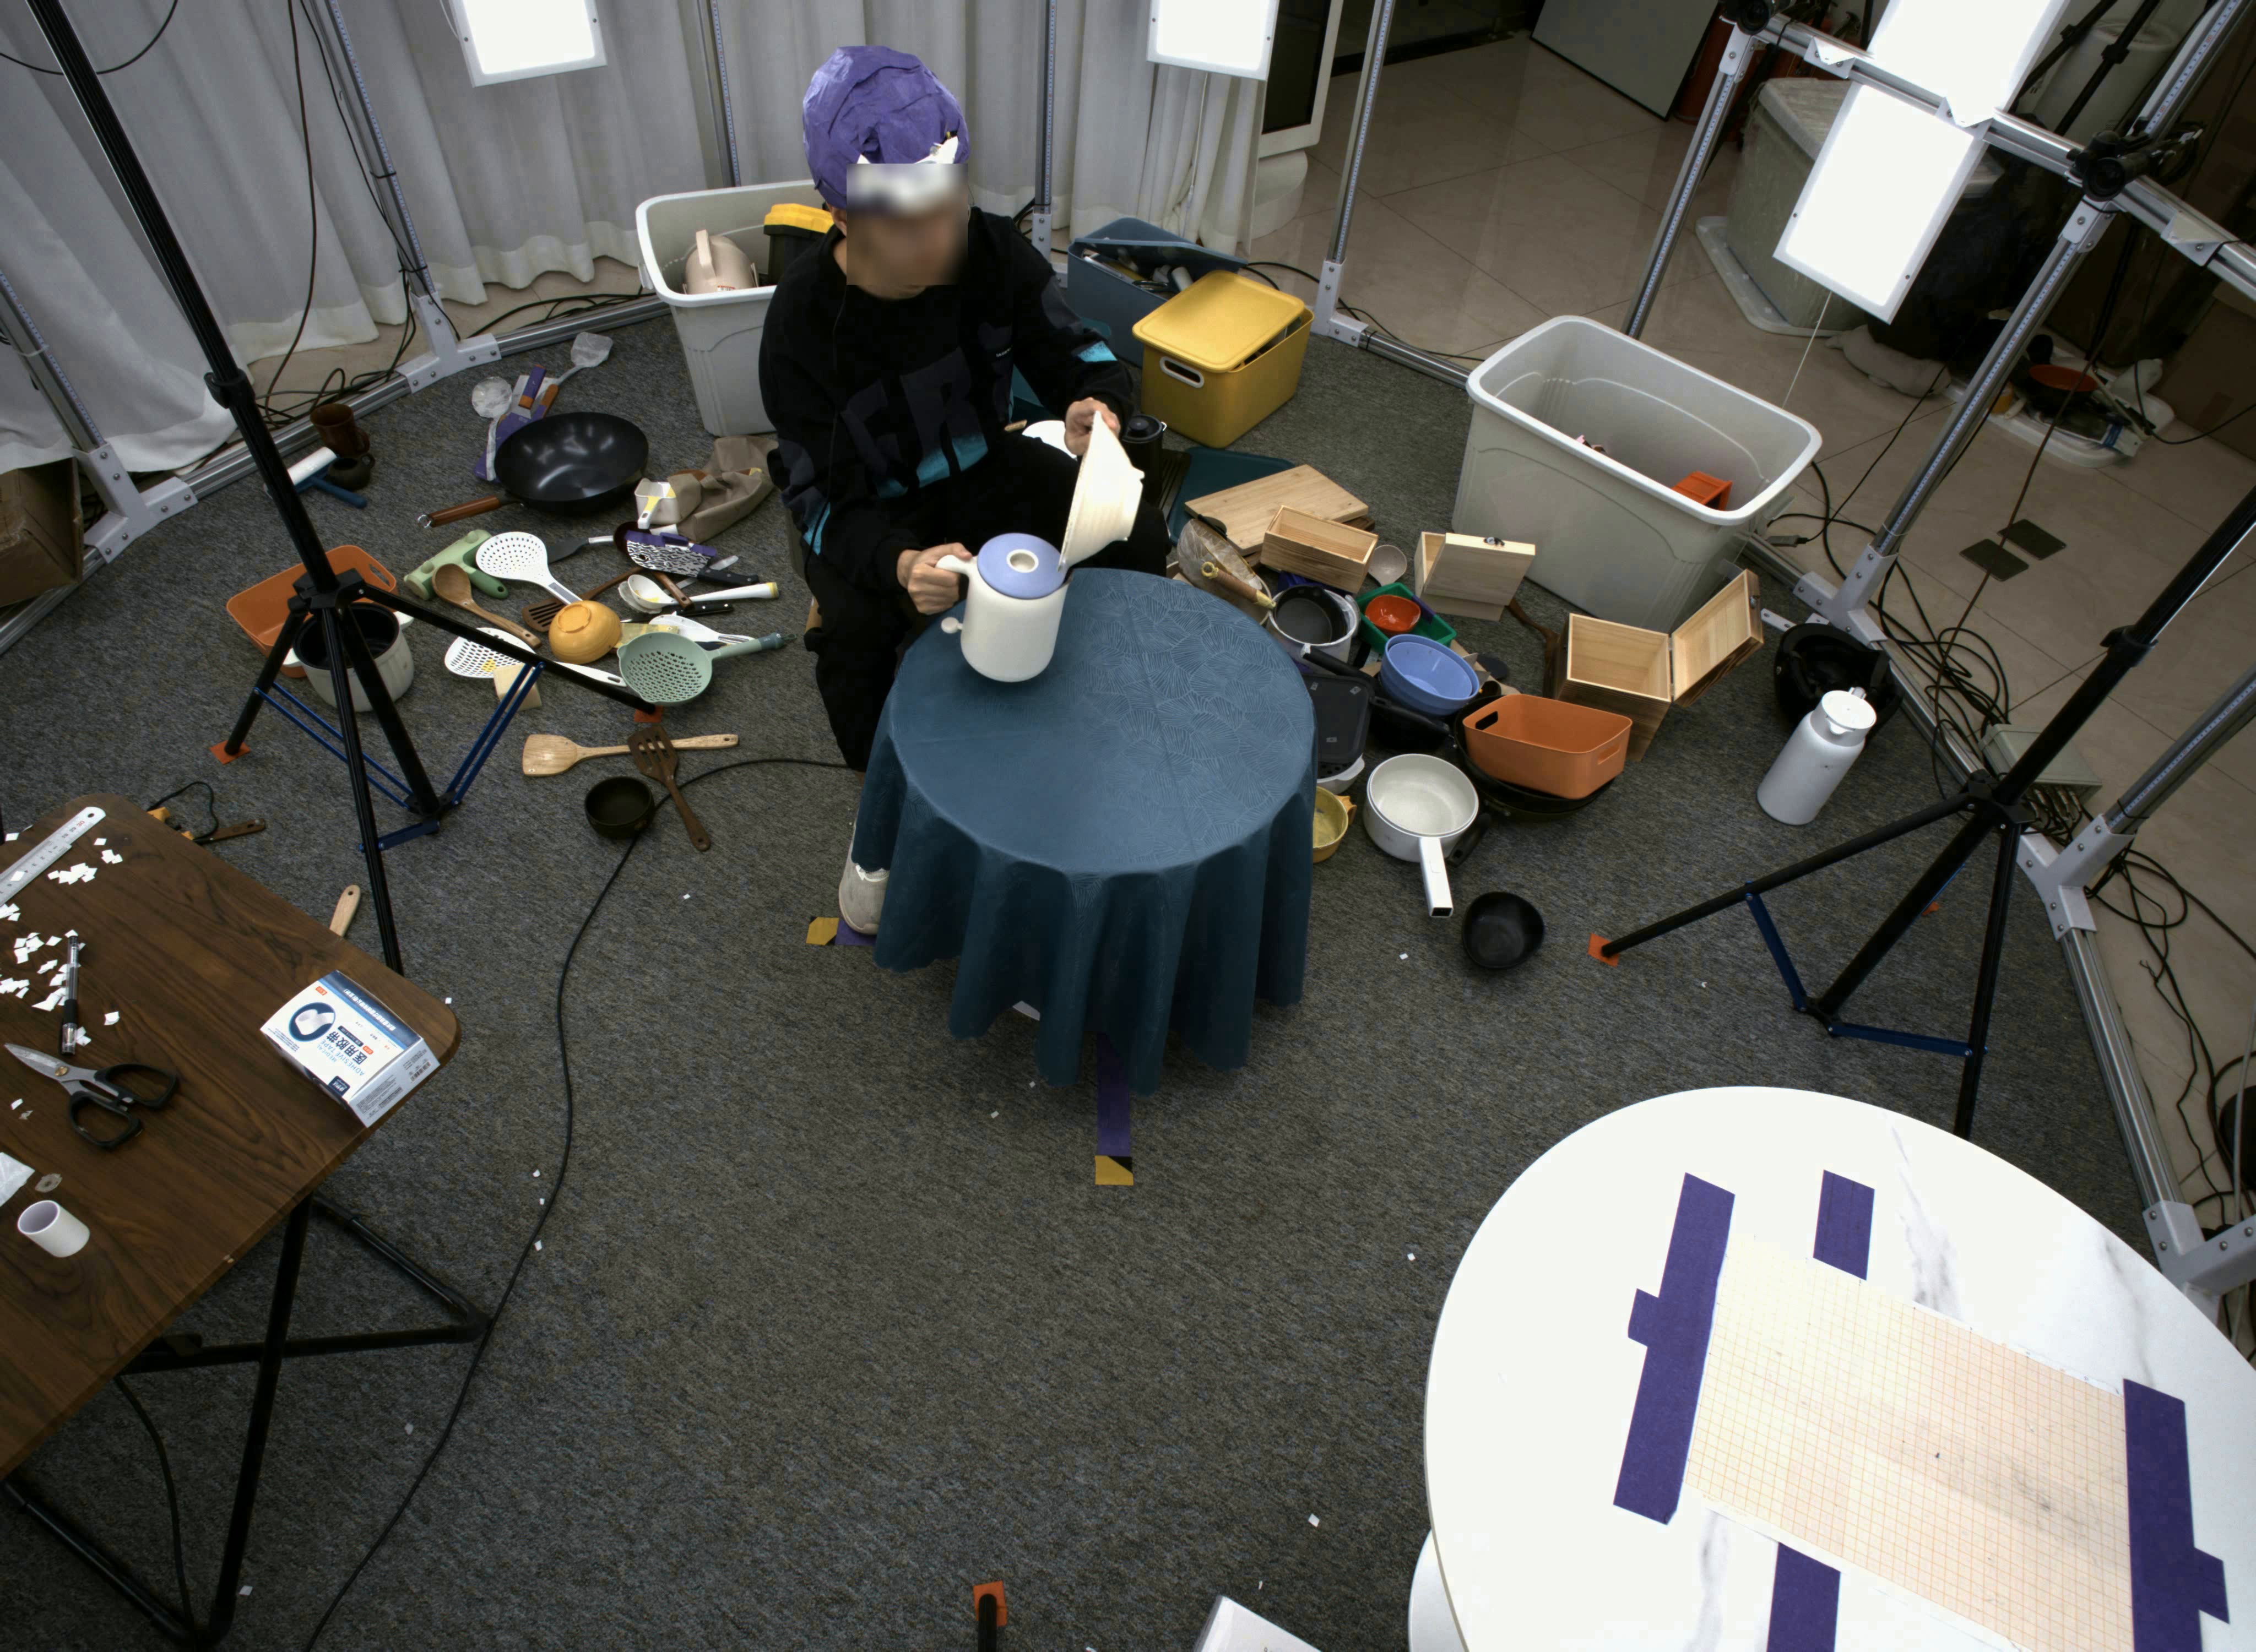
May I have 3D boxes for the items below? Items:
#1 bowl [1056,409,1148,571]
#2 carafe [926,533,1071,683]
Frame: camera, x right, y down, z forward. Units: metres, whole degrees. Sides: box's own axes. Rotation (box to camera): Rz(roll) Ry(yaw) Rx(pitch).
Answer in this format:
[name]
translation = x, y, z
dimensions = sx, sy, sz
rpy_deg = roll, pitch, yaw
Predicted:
[bowl]
translation = -0.024, -0.404, 1.600
dimensions = 0.078, 0.199, 0.209
rpy_deg = 17, 49, -3
[carafe]
translation = -0.179, -0.301, 1.757
dimensions = 0.191, 0.178, 0.135
rpy_deg = 11, 52, -2
